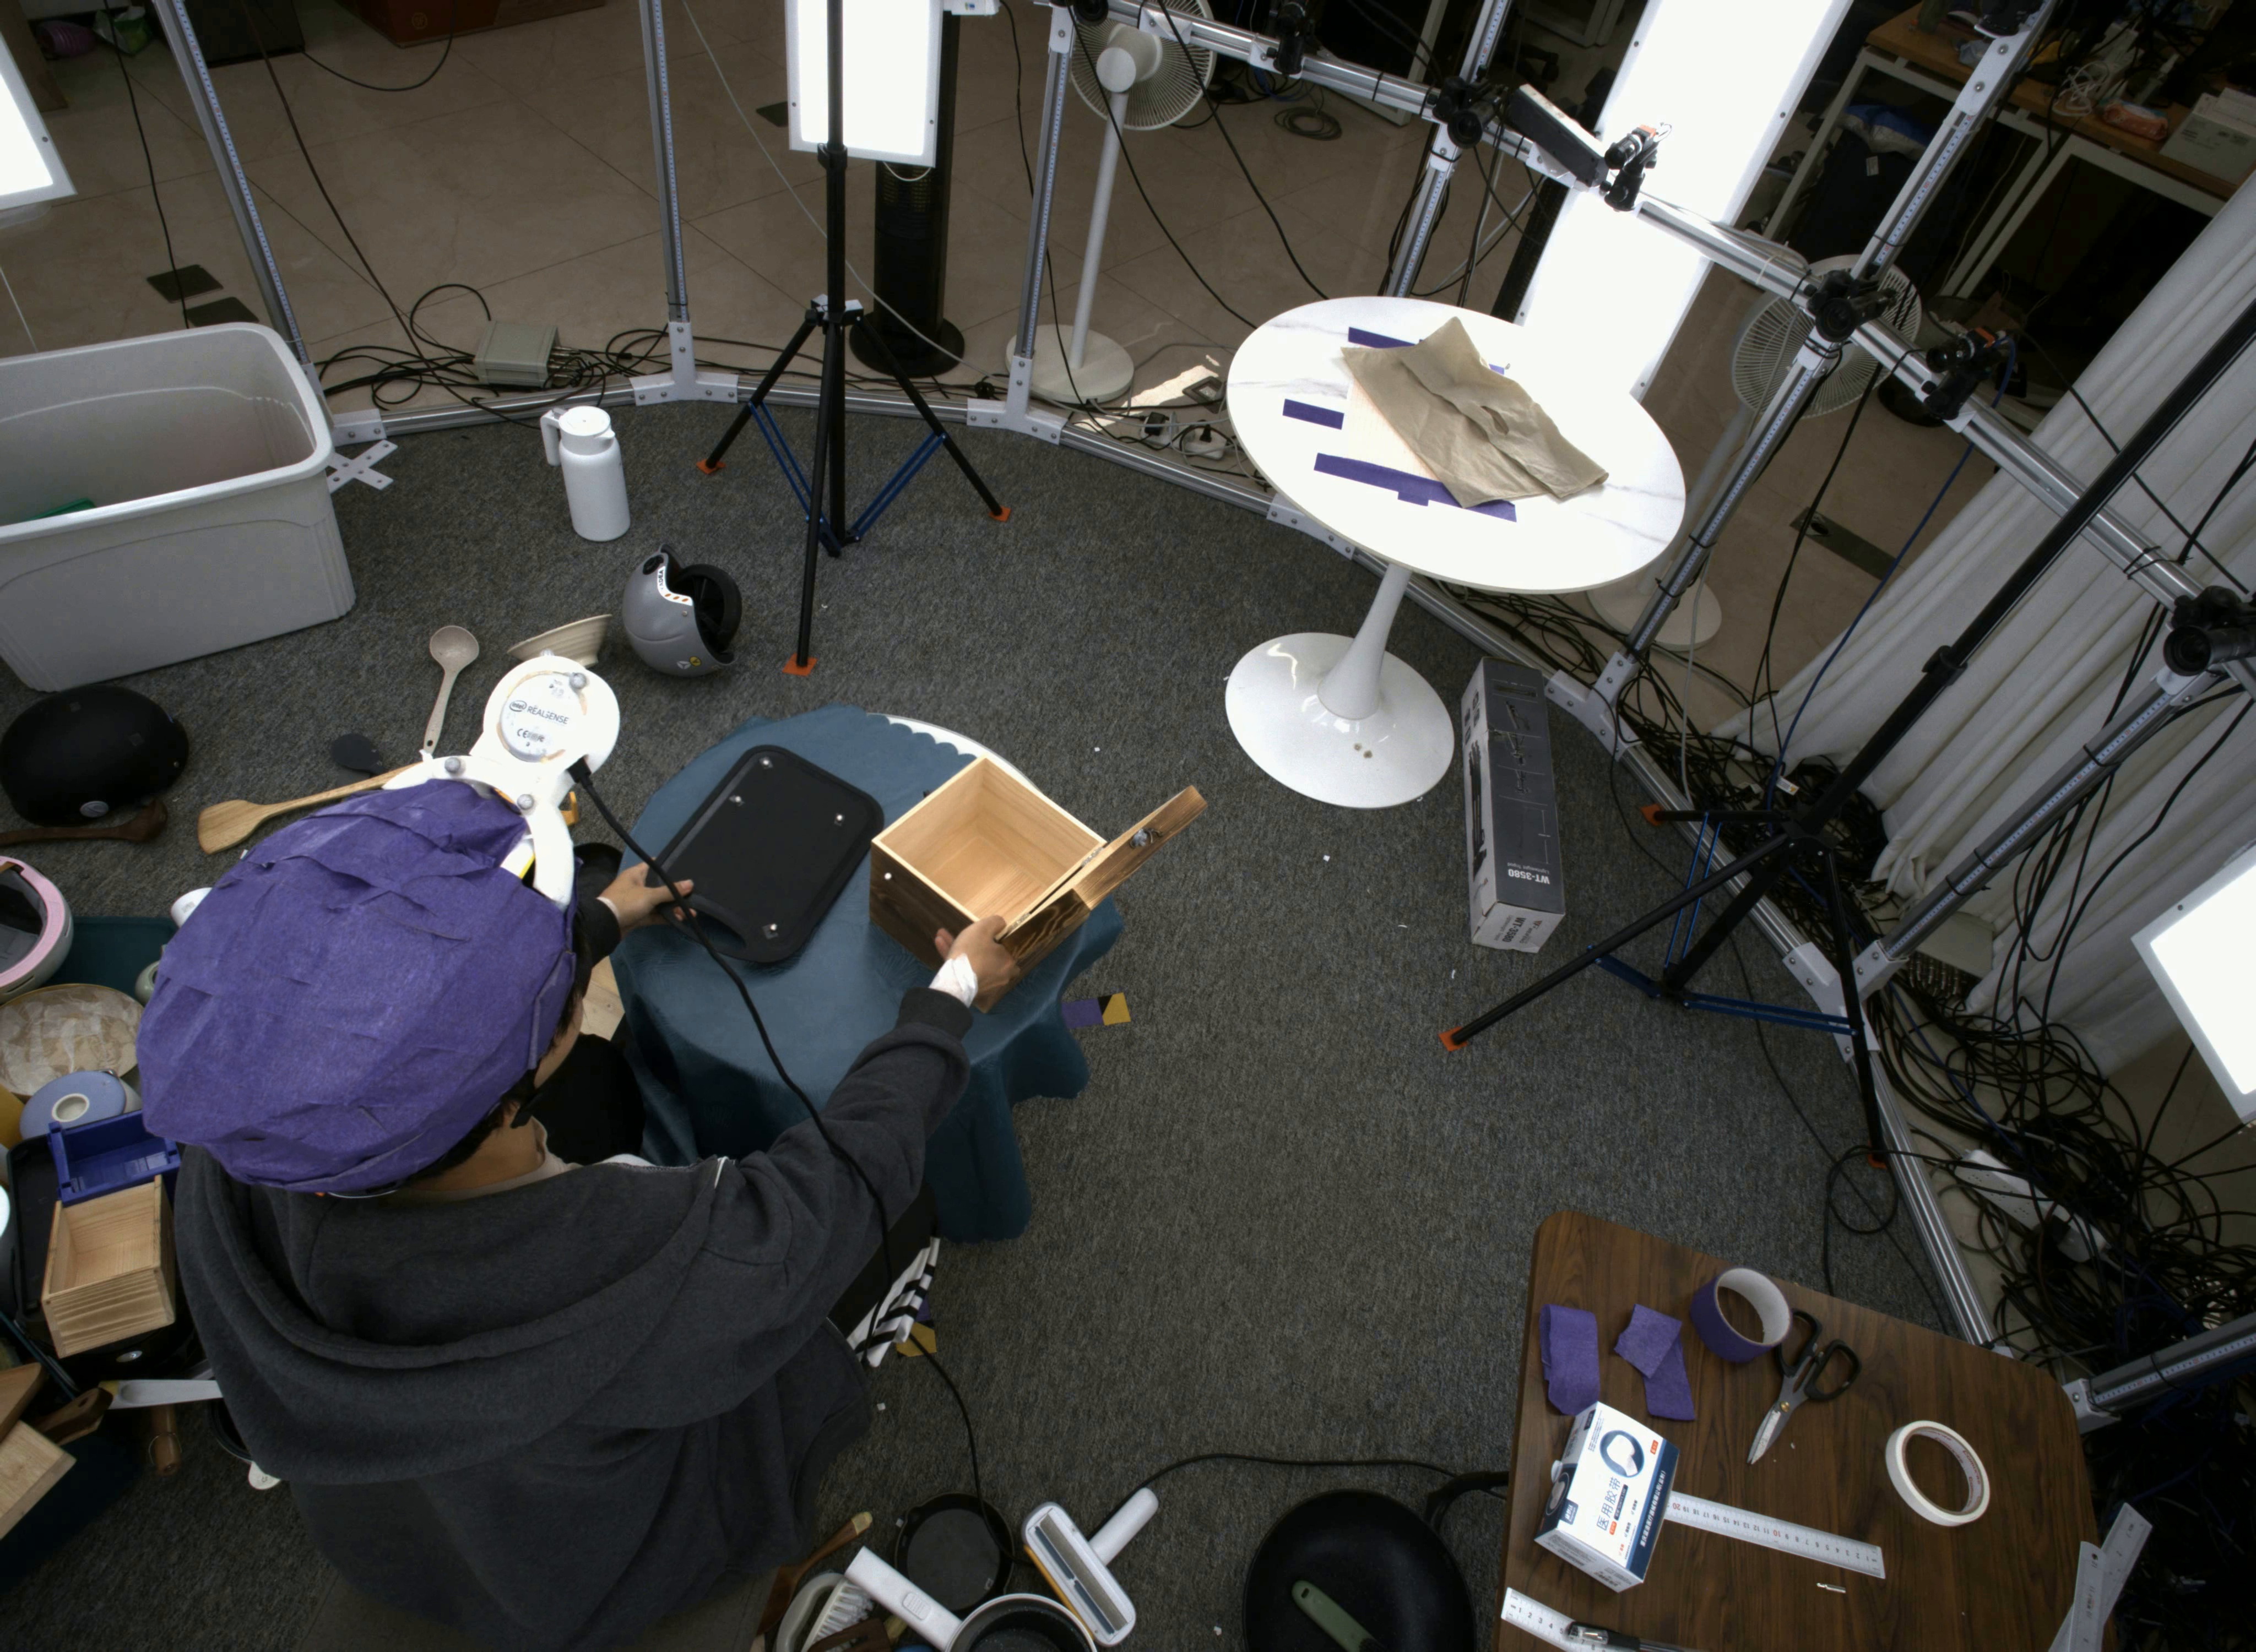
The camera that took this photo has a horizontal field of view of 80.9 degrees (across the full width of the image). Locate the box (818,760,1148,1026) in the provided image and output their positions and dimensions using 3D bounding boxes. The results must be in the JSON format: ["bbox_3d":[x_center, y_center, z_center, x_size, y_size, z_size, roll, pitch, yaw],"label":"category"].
[{"bbox_3d":[-0.180,0.043,1.527,0.316,0.383,0.208,32,52,12],"label":"box"}]

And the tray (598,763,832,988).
[{"bbox_3d":[-0.519,0.057,1.624,0.211,0.010,0.322,27,47,-7],"label":"tray"}]
